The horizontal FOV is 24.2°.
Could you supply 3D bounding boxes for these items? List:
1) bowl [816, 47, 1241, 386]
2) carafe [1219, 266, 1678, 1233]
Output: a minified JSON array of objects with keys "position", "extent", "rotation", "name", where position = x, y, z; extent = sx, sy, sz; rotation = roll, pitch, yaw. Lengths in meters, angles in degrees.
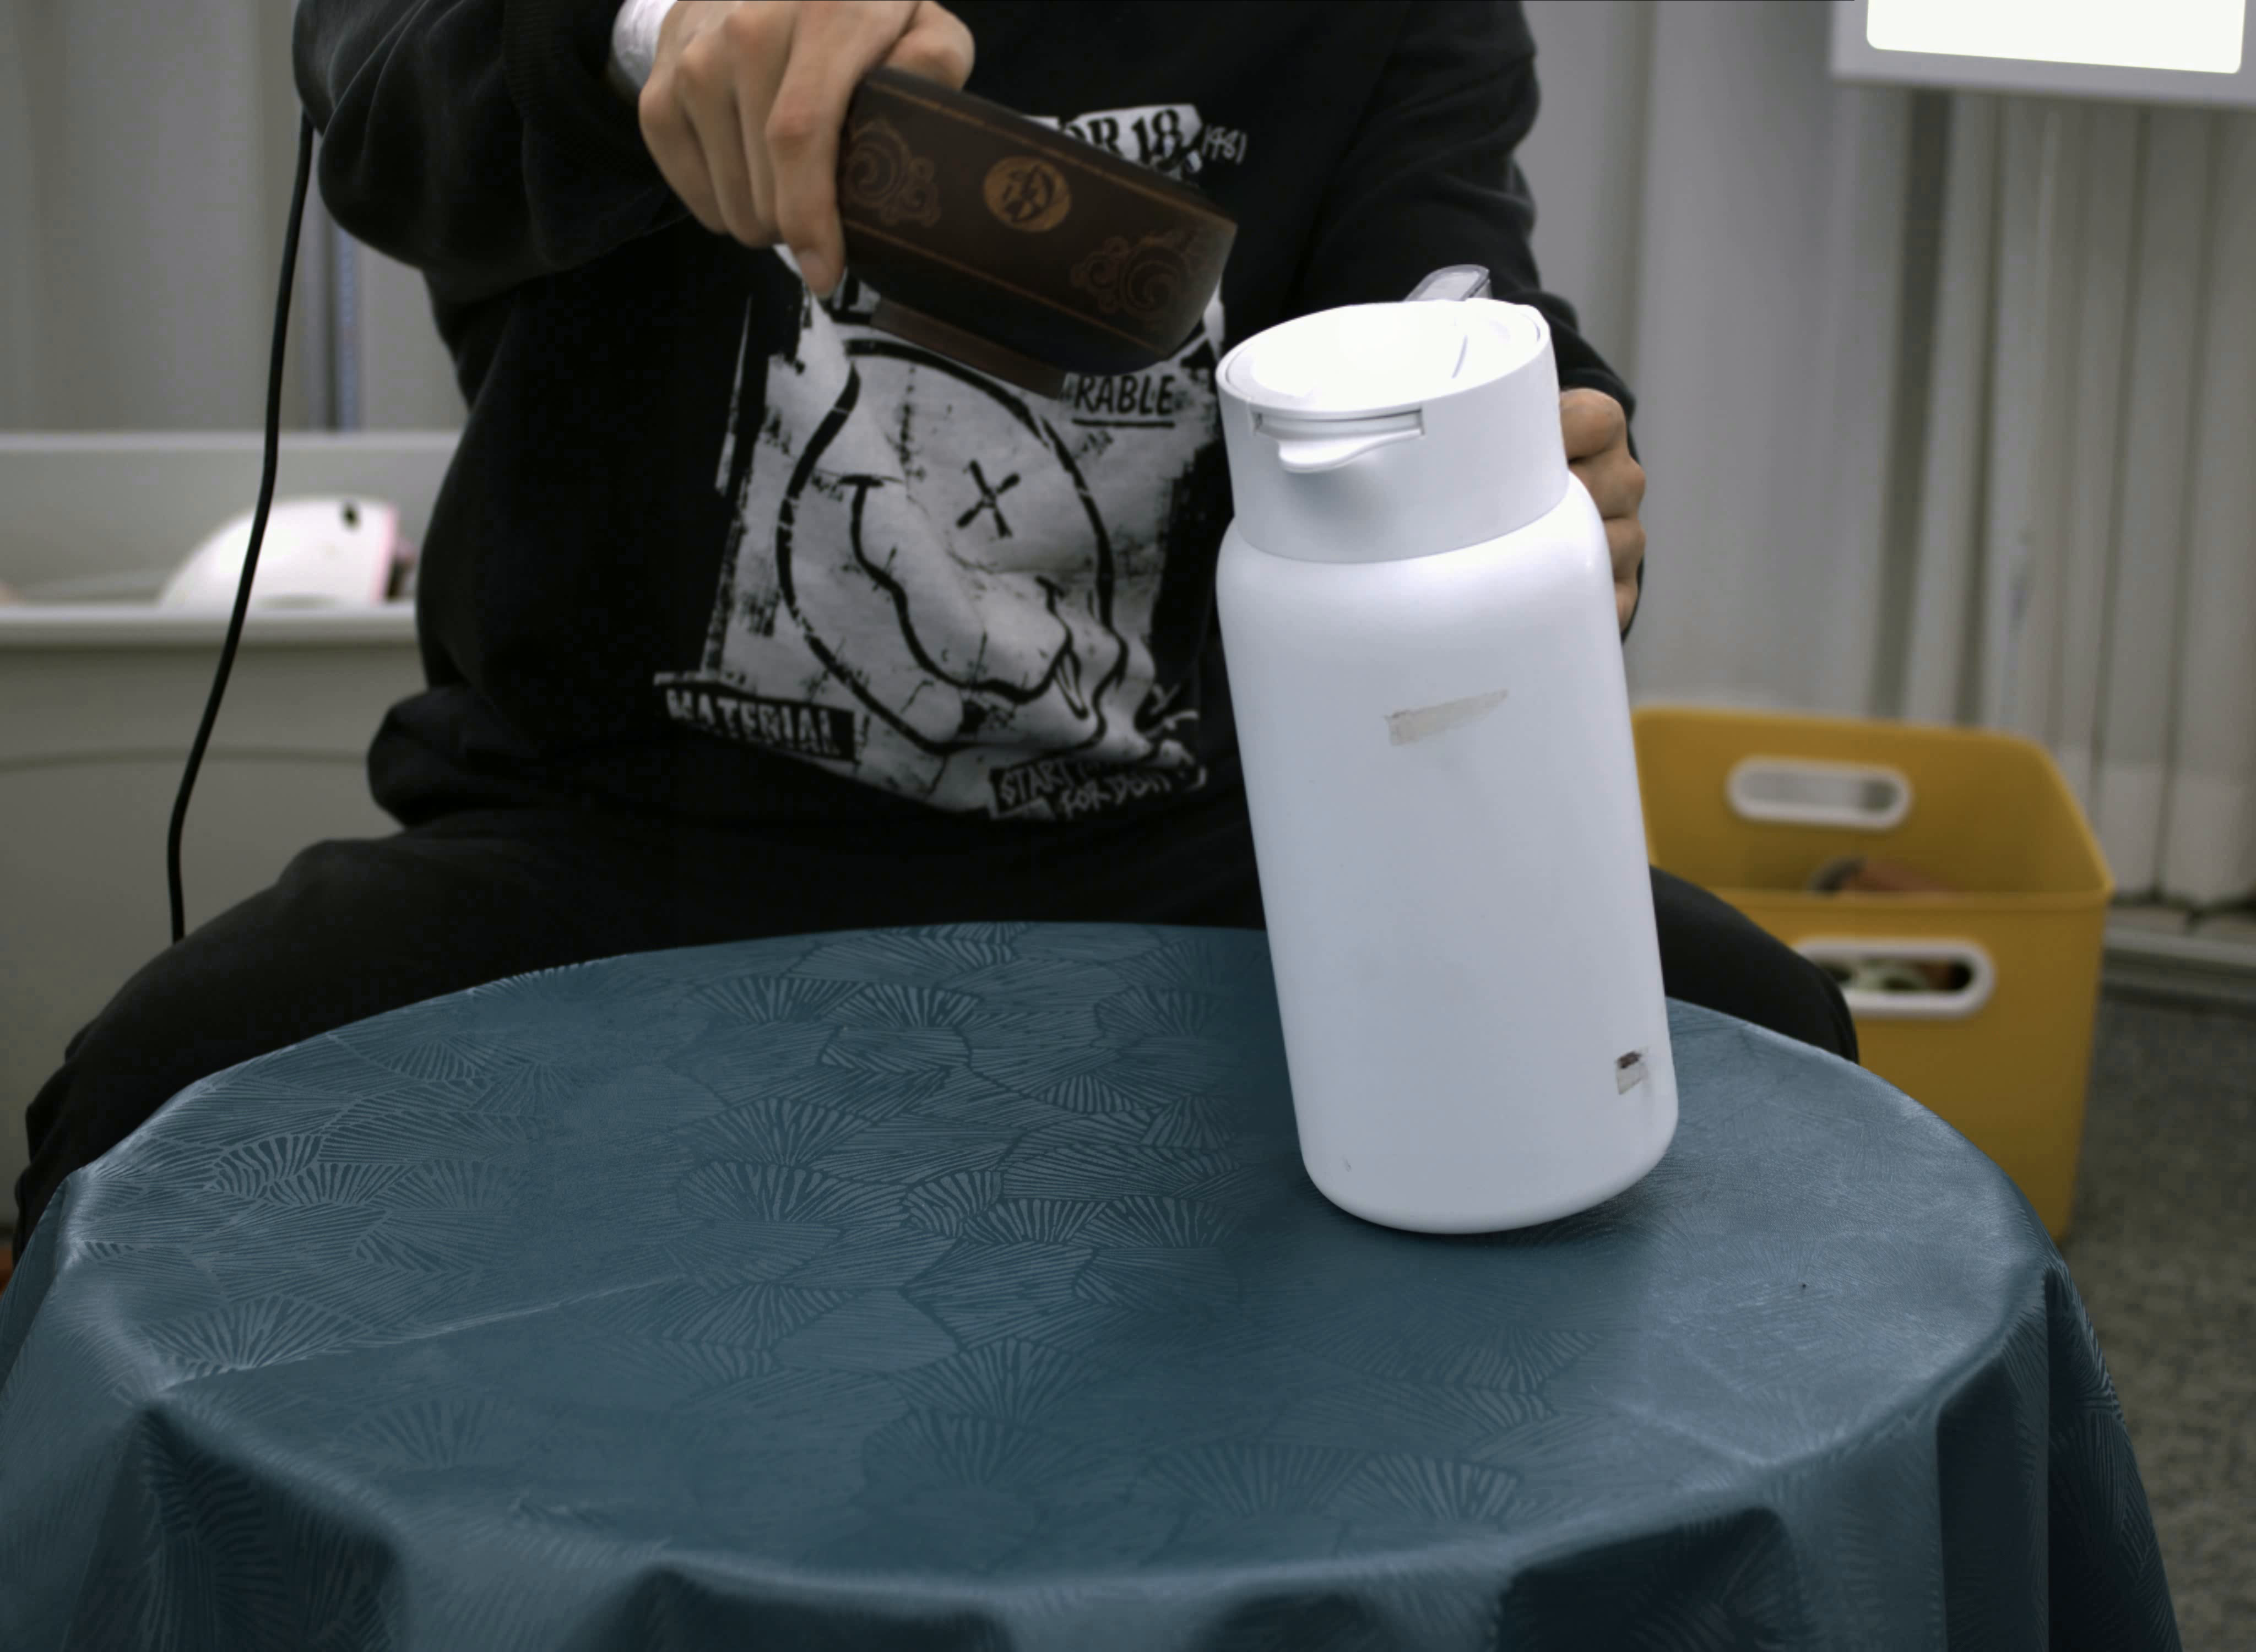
[{"position":[-0.034,-0.165,1.473],"extent":[0.118,0.070,0.118],"rotation":[21,3,-1],"name":"bowl"},{"position":[0.099,-0.026,1.588],"extent":[0.122,0.272,0.172],"rotation":[-1,25,23],"name":"carafe"}]
